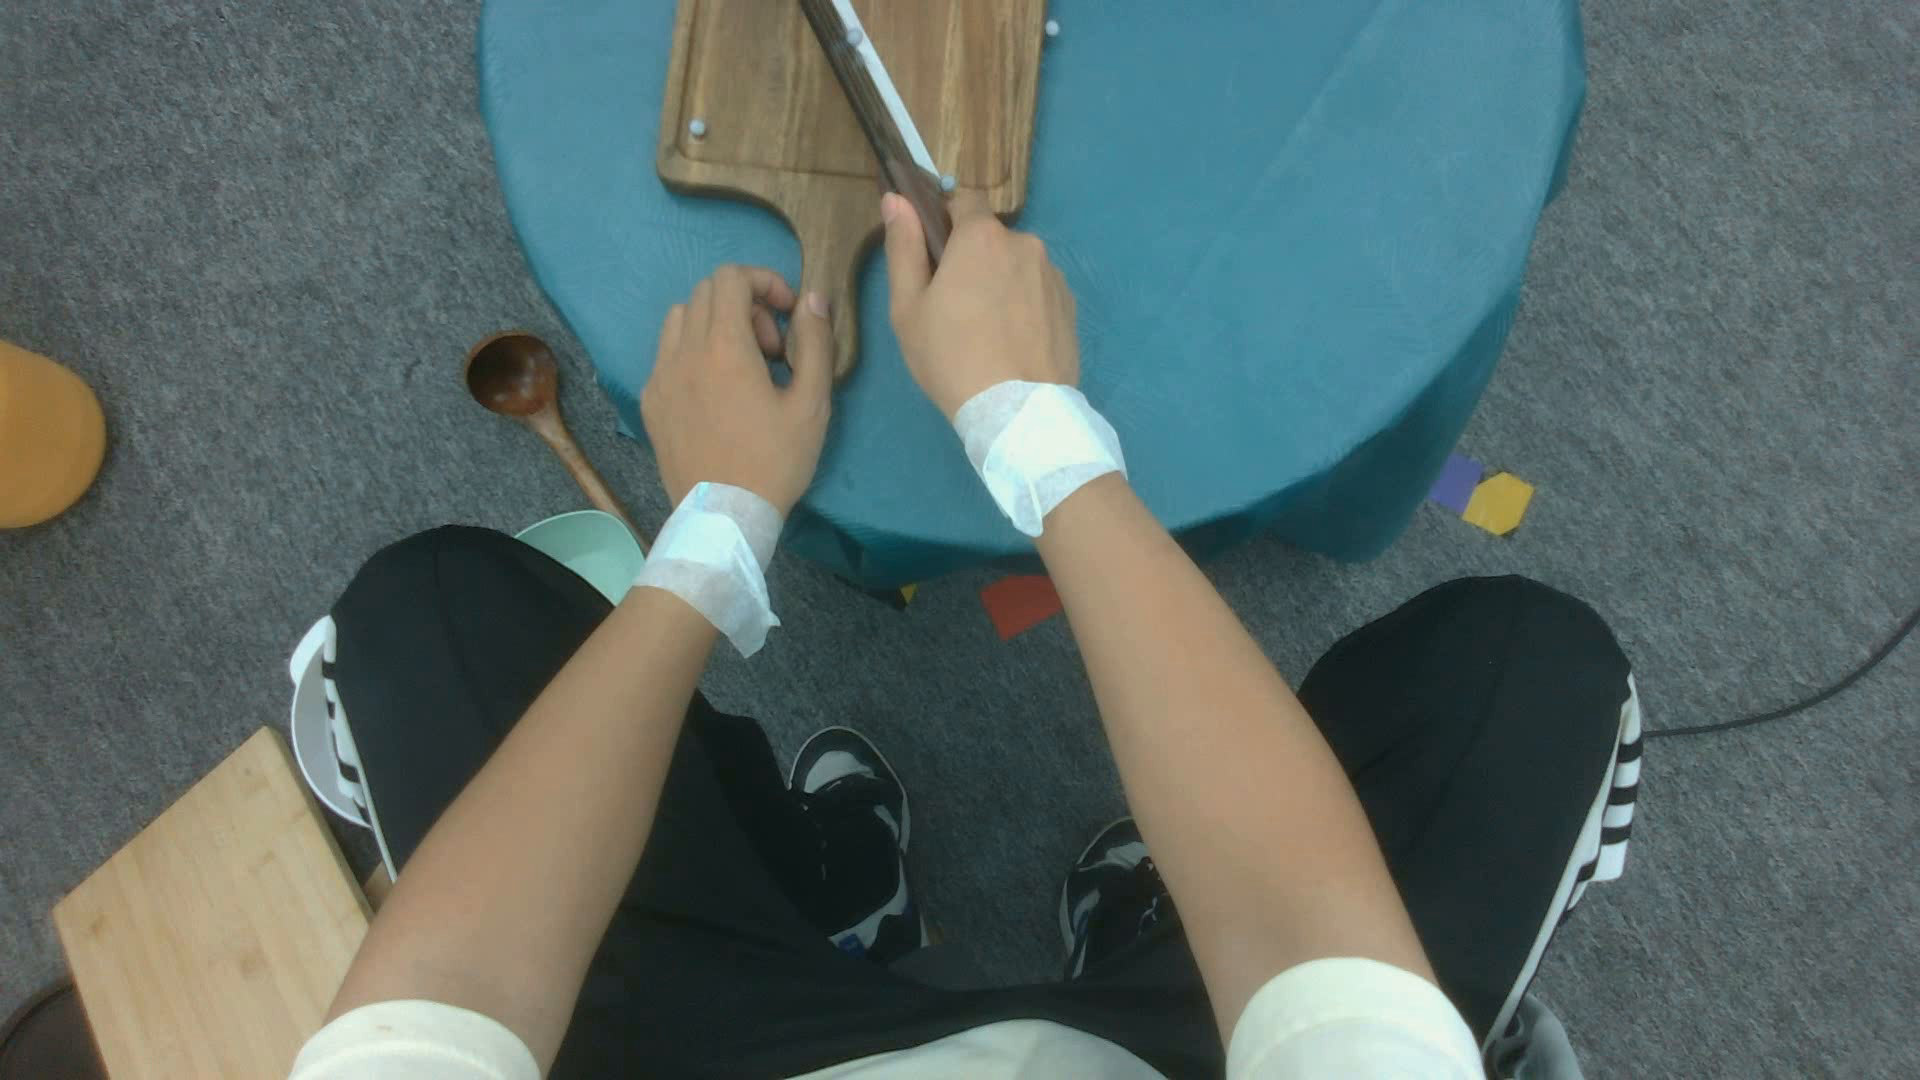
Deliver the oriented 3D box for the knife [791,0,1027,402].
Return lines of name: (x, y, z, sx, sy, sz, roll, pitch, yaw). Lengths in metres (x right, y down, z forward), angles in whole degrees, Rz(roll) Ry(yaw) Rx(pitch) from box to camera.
knife: (-0.030, -0.199, 0.710, 0.024, 0.068, 0.300, -34, 74, 27)

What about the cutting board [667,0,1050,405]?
cutting board: (-0.055, -0.247, 0.760, 0.201, 0.023, 0.352, 5, 80, 2)
